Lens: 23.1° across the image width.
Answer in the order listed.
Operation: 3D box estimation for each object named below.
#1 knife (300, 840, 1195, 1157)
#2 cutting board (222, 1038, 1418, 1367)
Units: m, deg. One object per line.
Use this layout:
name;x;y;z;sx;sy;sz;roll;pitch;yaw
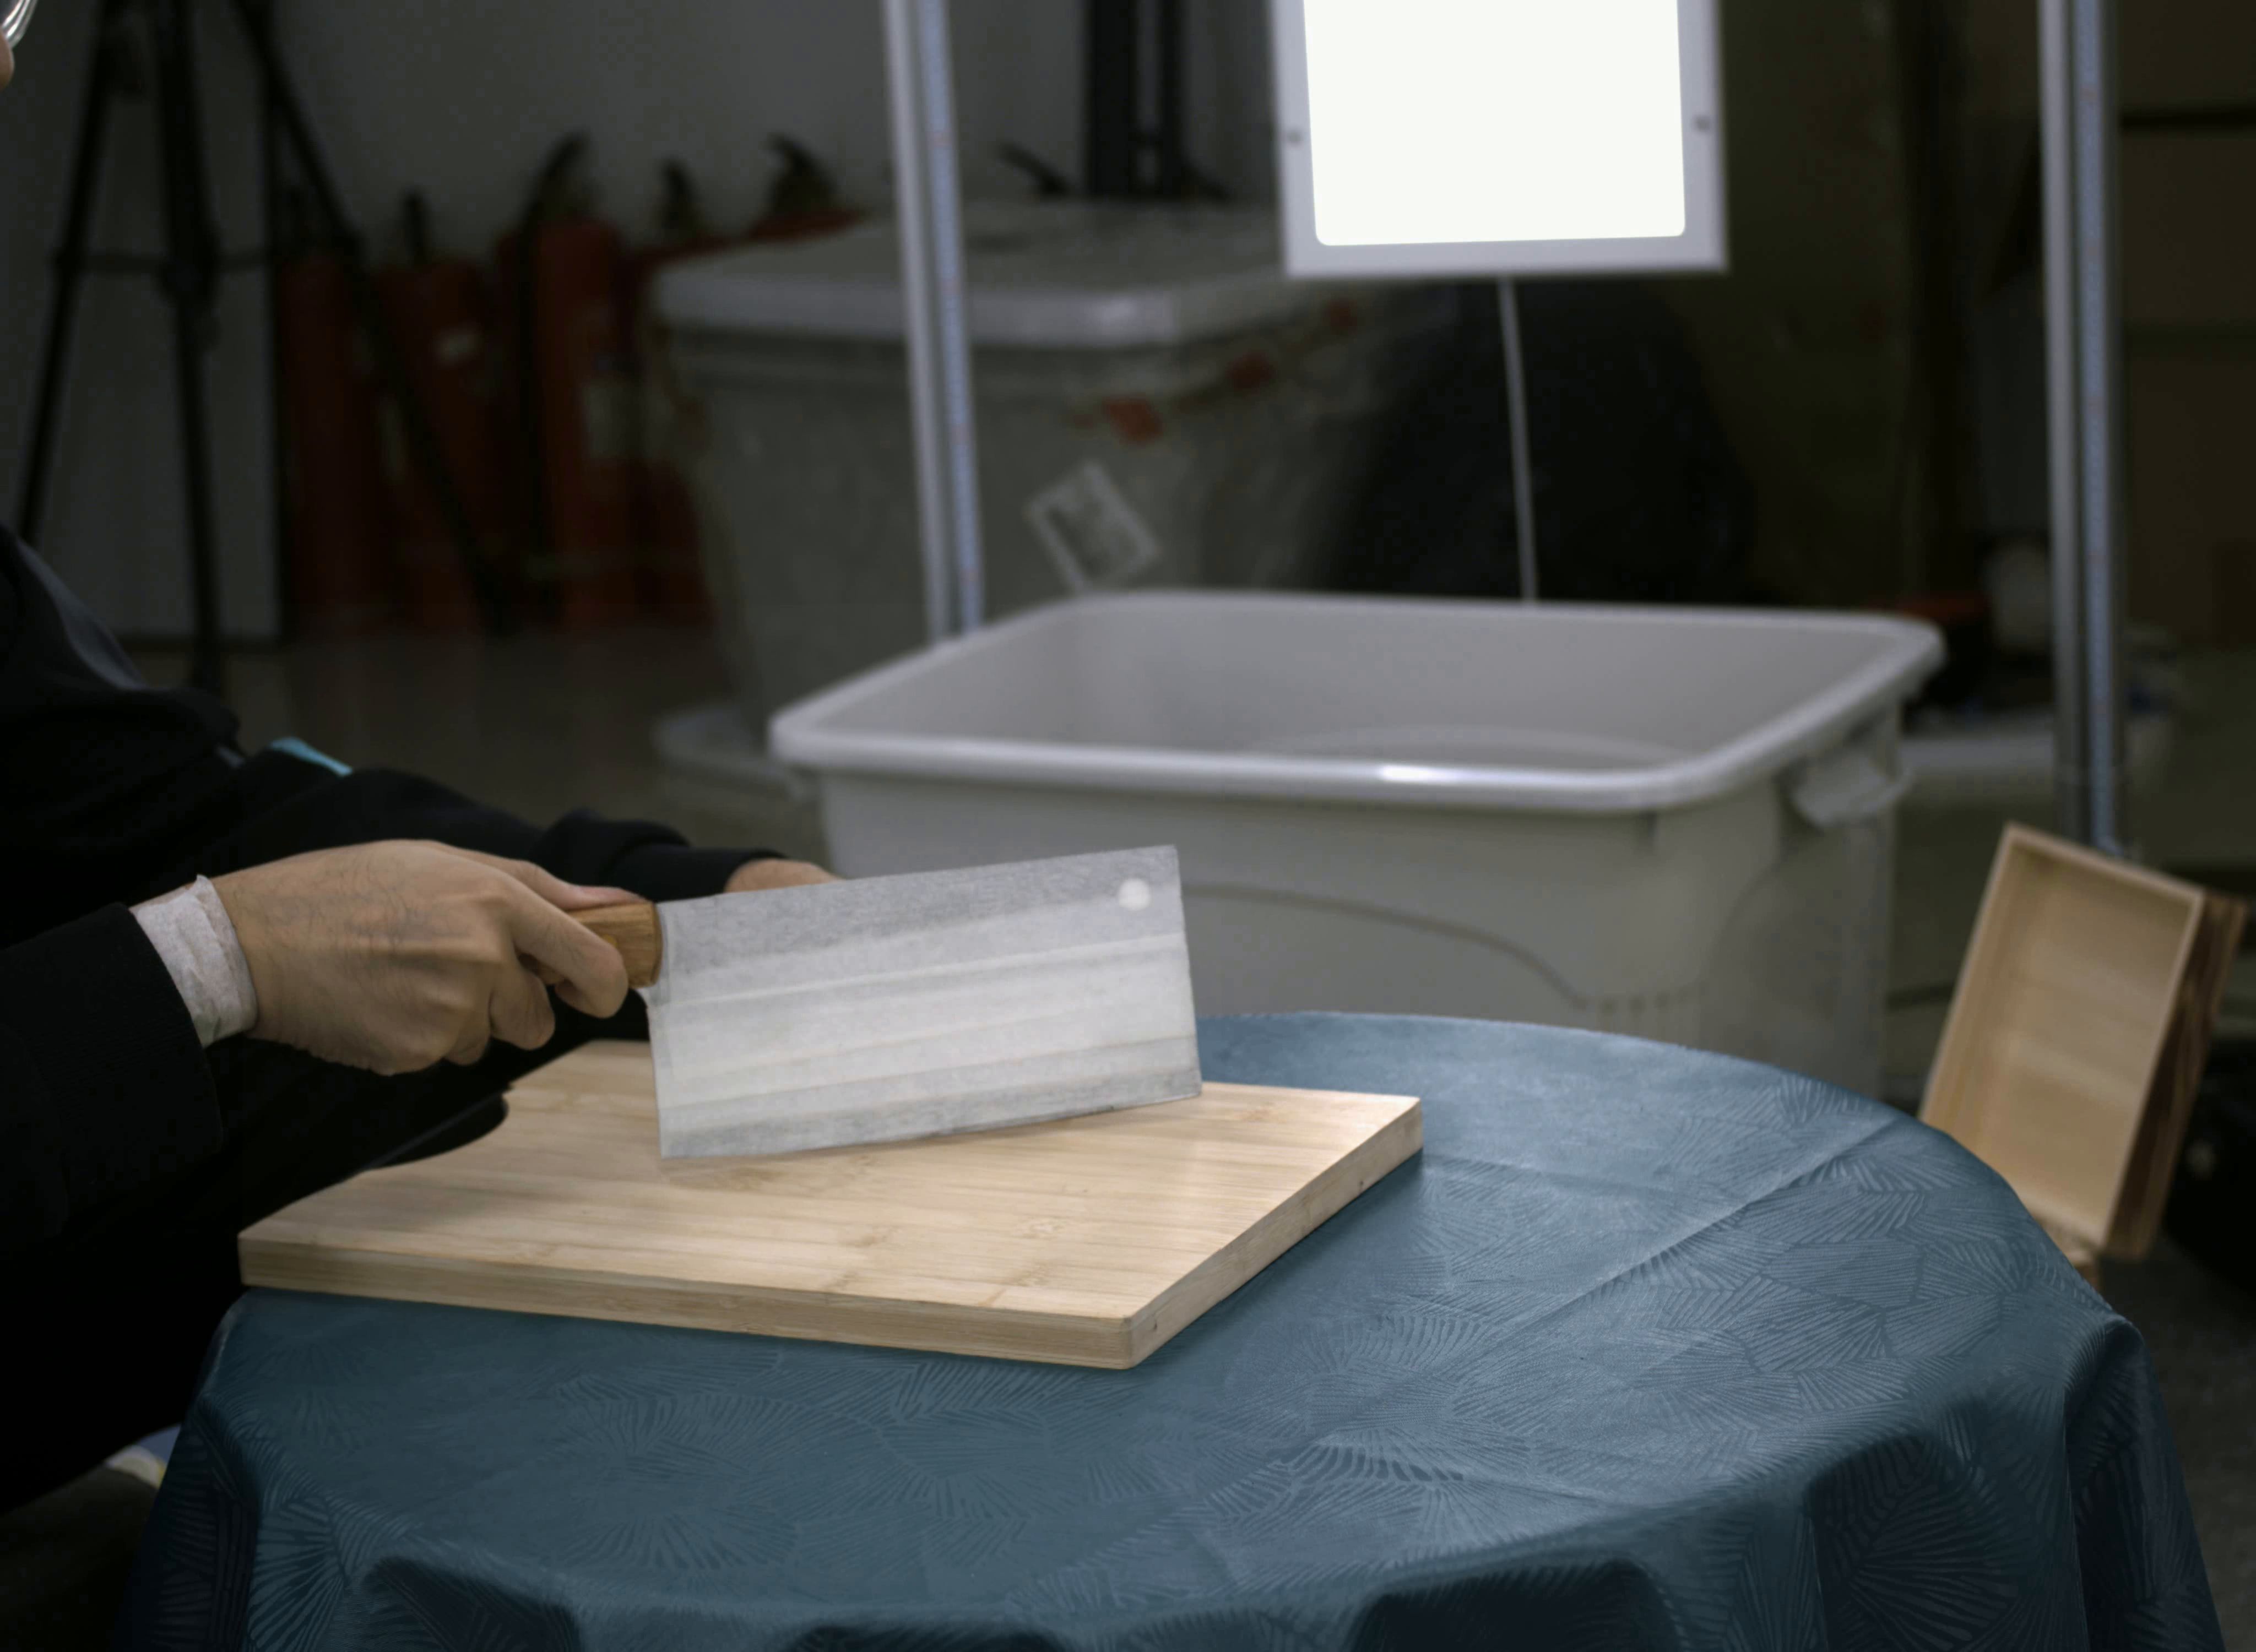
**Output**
knife;-0.129;0.065;1.901;0.304;0.093;0.021;-6;6;-3
cutting board;-0.104;0.126;1.903;0.354;0.023;0.245;2;16;27
